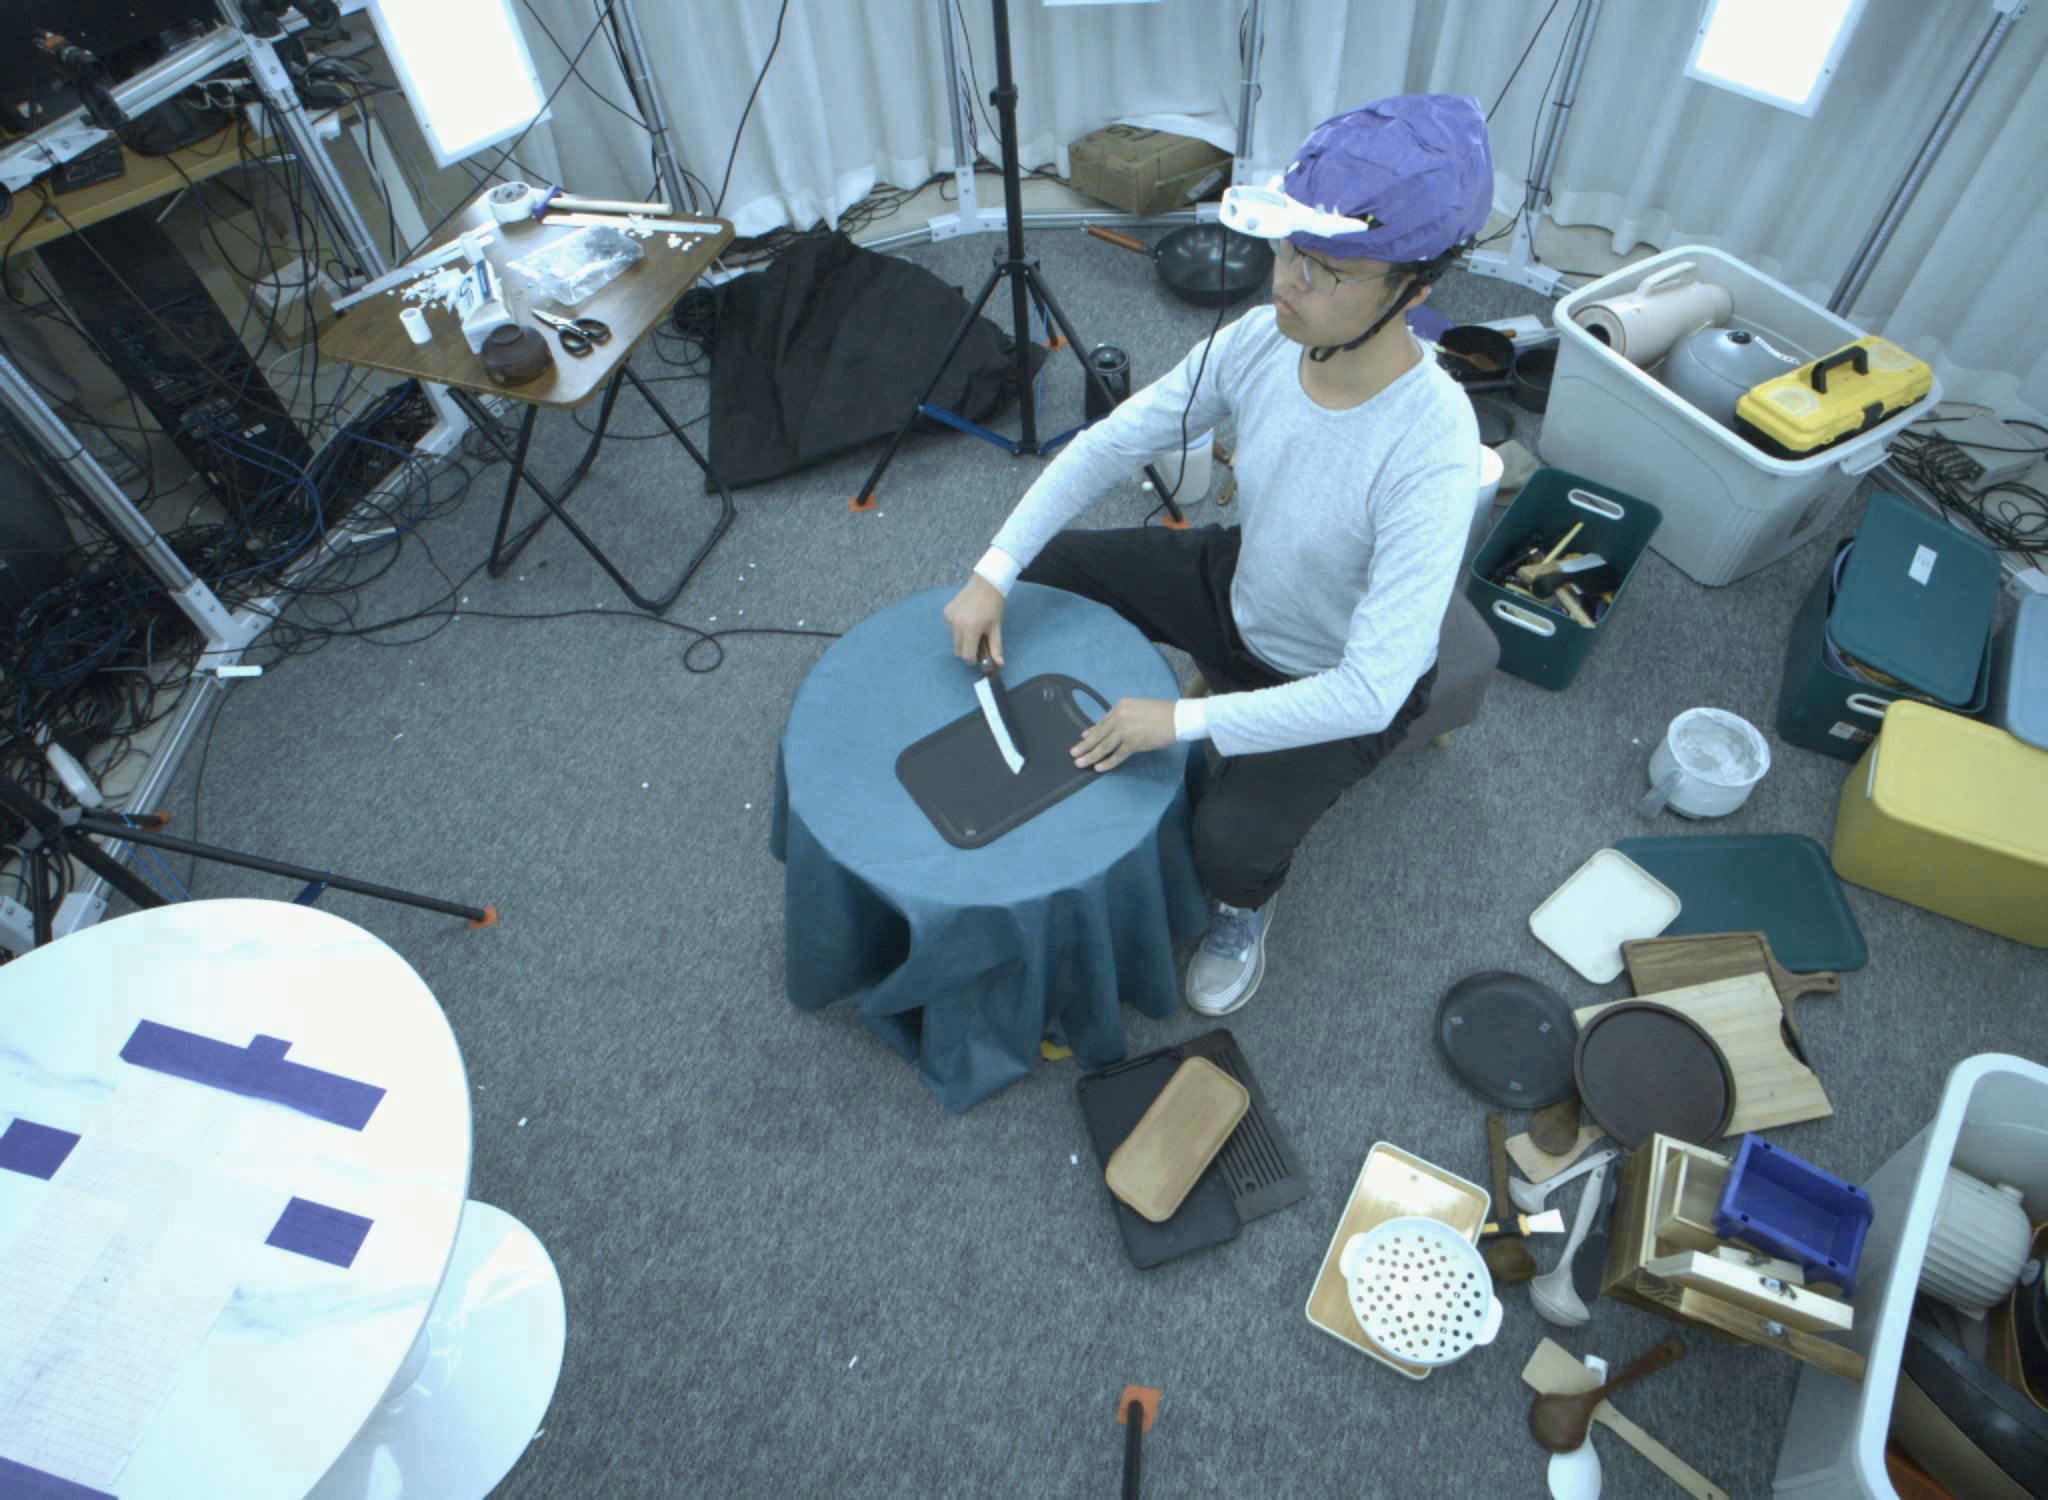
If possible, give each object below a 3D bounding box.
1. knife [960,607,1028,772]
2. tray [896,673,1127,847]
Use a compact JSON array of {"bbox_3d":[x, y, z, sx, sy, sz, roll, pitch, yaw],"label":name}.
[{"bbox_3d":[-0.045,-0.093,1.826,0.050,0.020,0.285,-28,64,20],"label":"knife"},{"bbox_3d":[-0.012,0.003,1.790,0.328,0.010,0.207,-29,59,-18],"label":"tray"}]
